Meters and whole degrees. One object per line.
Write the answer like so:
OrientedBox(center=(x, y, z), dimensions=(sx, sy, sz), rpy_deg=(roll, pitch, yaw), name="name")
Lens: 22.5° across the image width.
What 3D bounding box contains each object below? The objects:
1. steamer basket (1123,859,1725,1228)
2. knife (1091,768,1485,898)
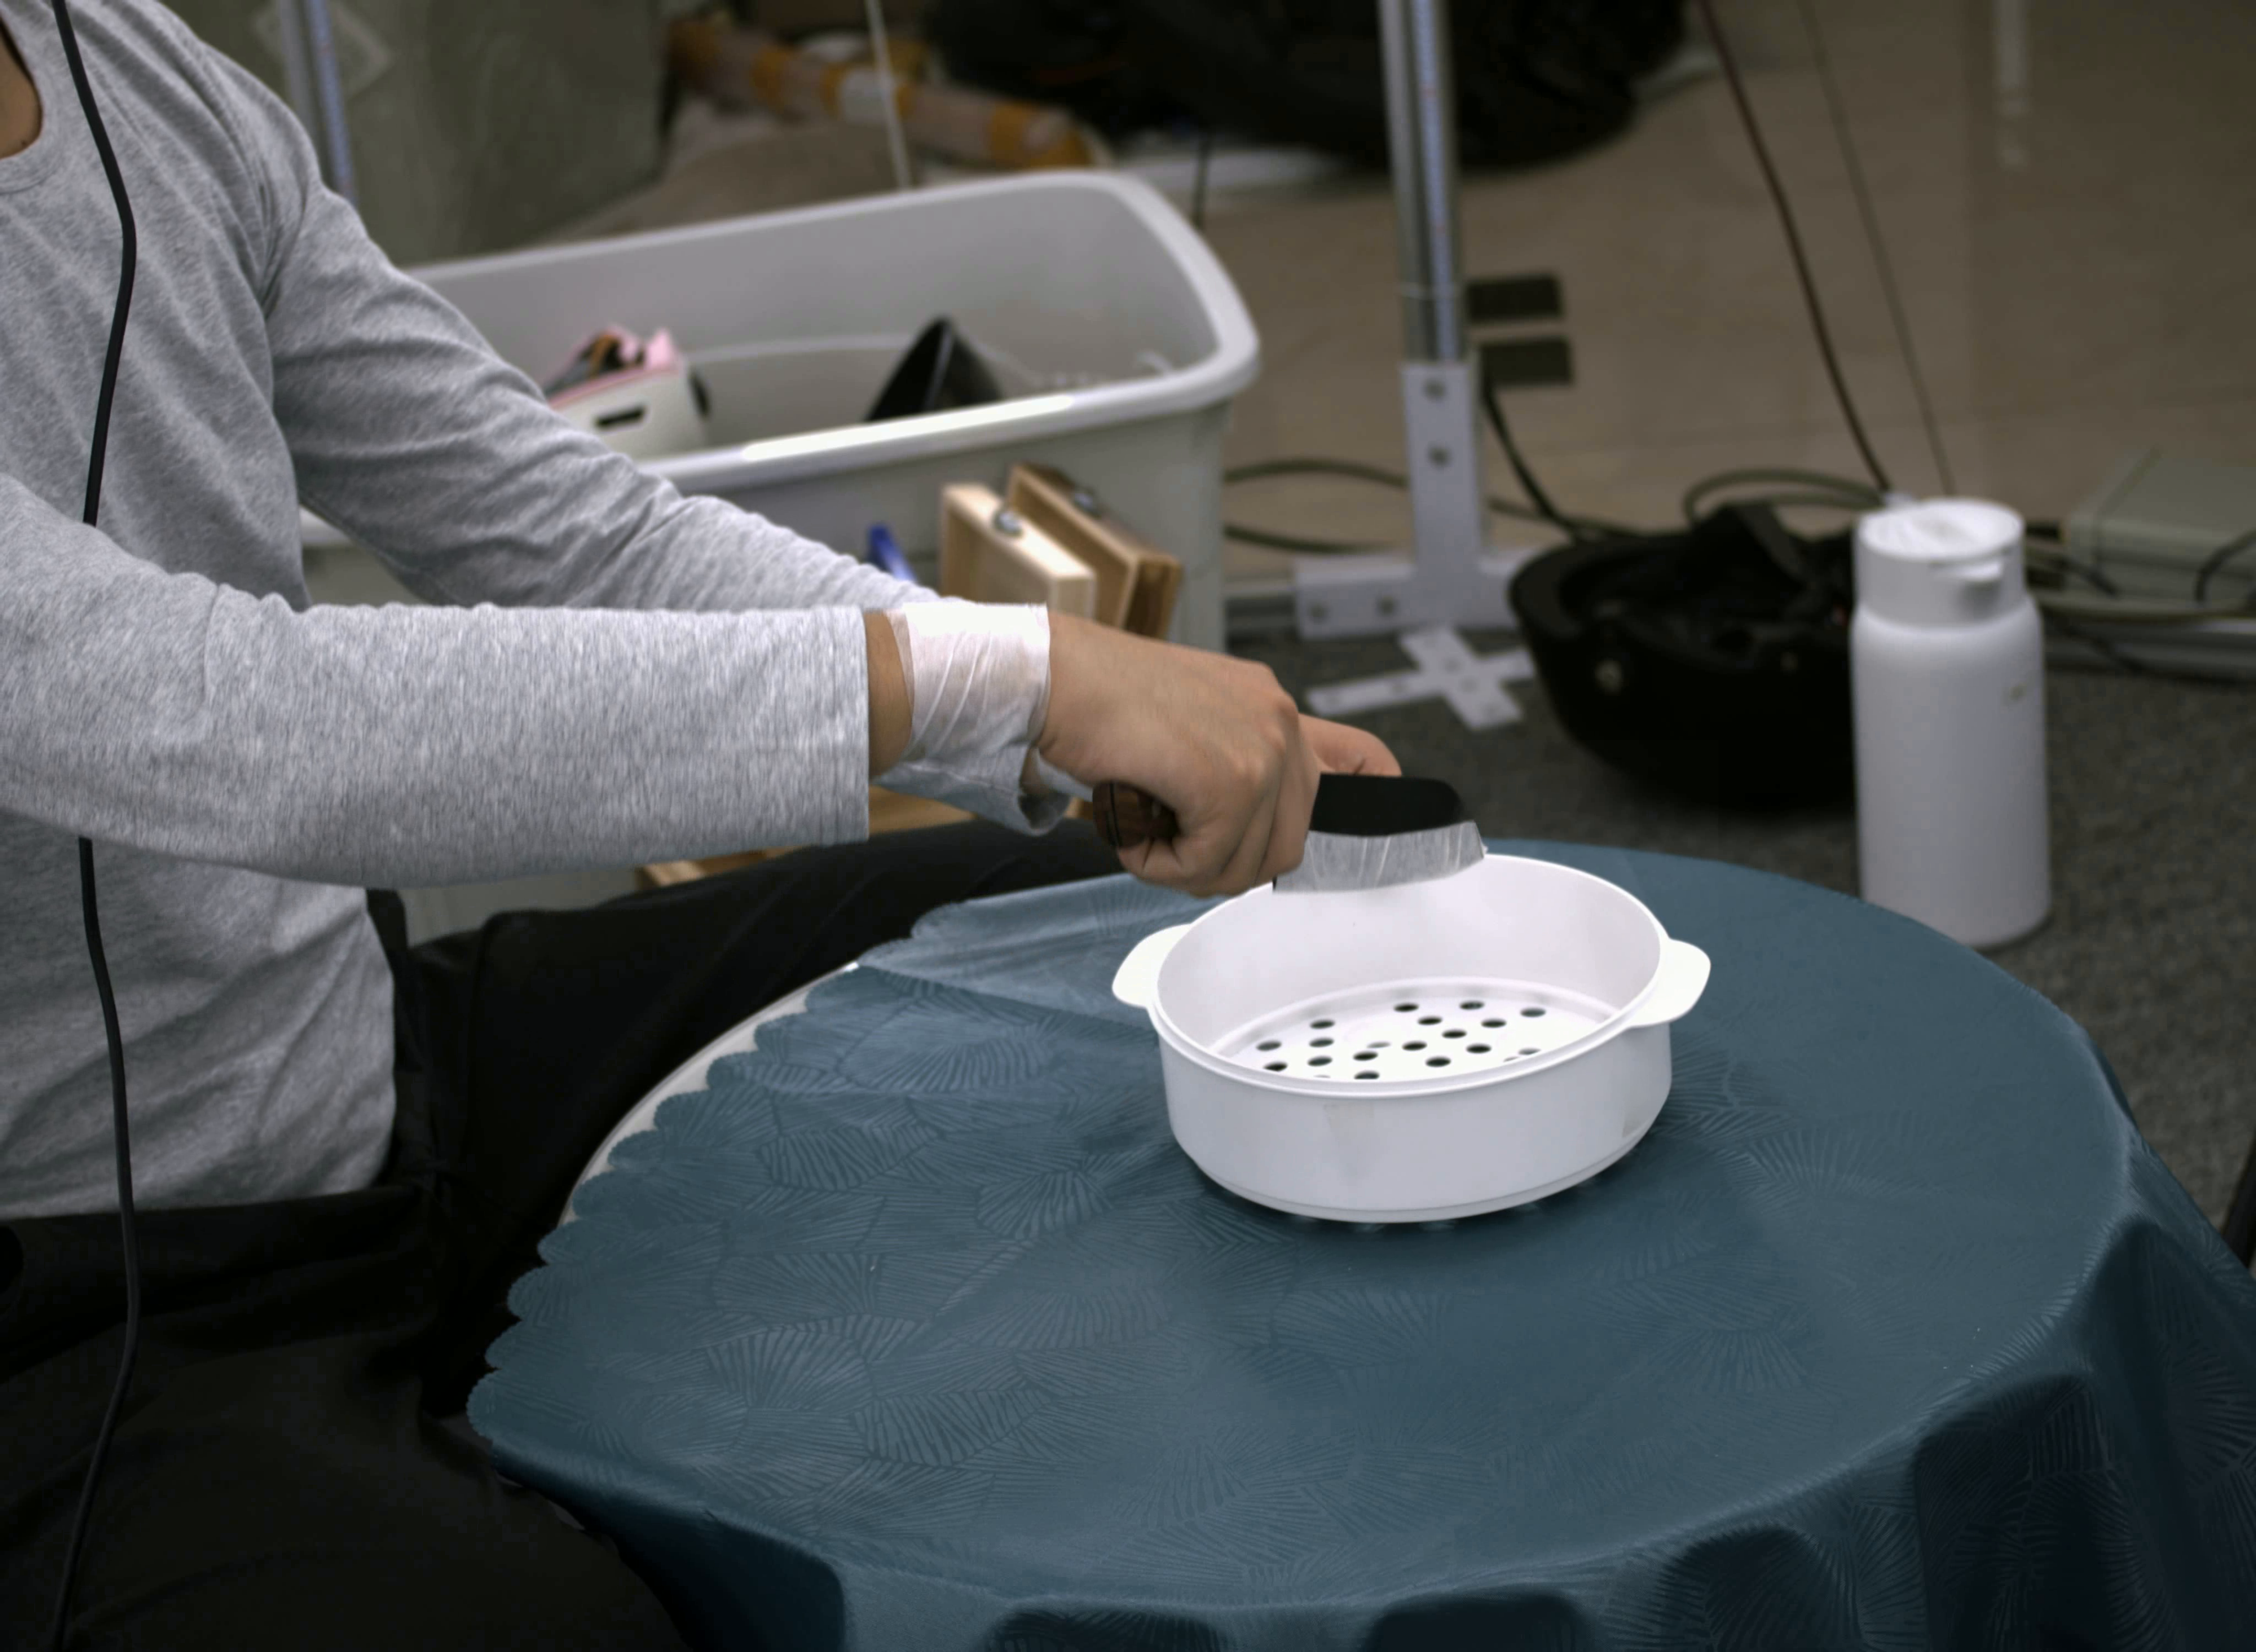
OrientedBox(center=(0.114, 0.083, 2.165), dimensions=(0.230, 0.070, 0.199), rpy_deg=(1, 25, 18), name="steamer basket")
OrientedBox(center=(0.065, 0.001, 2.055), dimensions=(0.020, 0.050, 0.289), rpy_deg=(9, 2, 30), name="knife")
